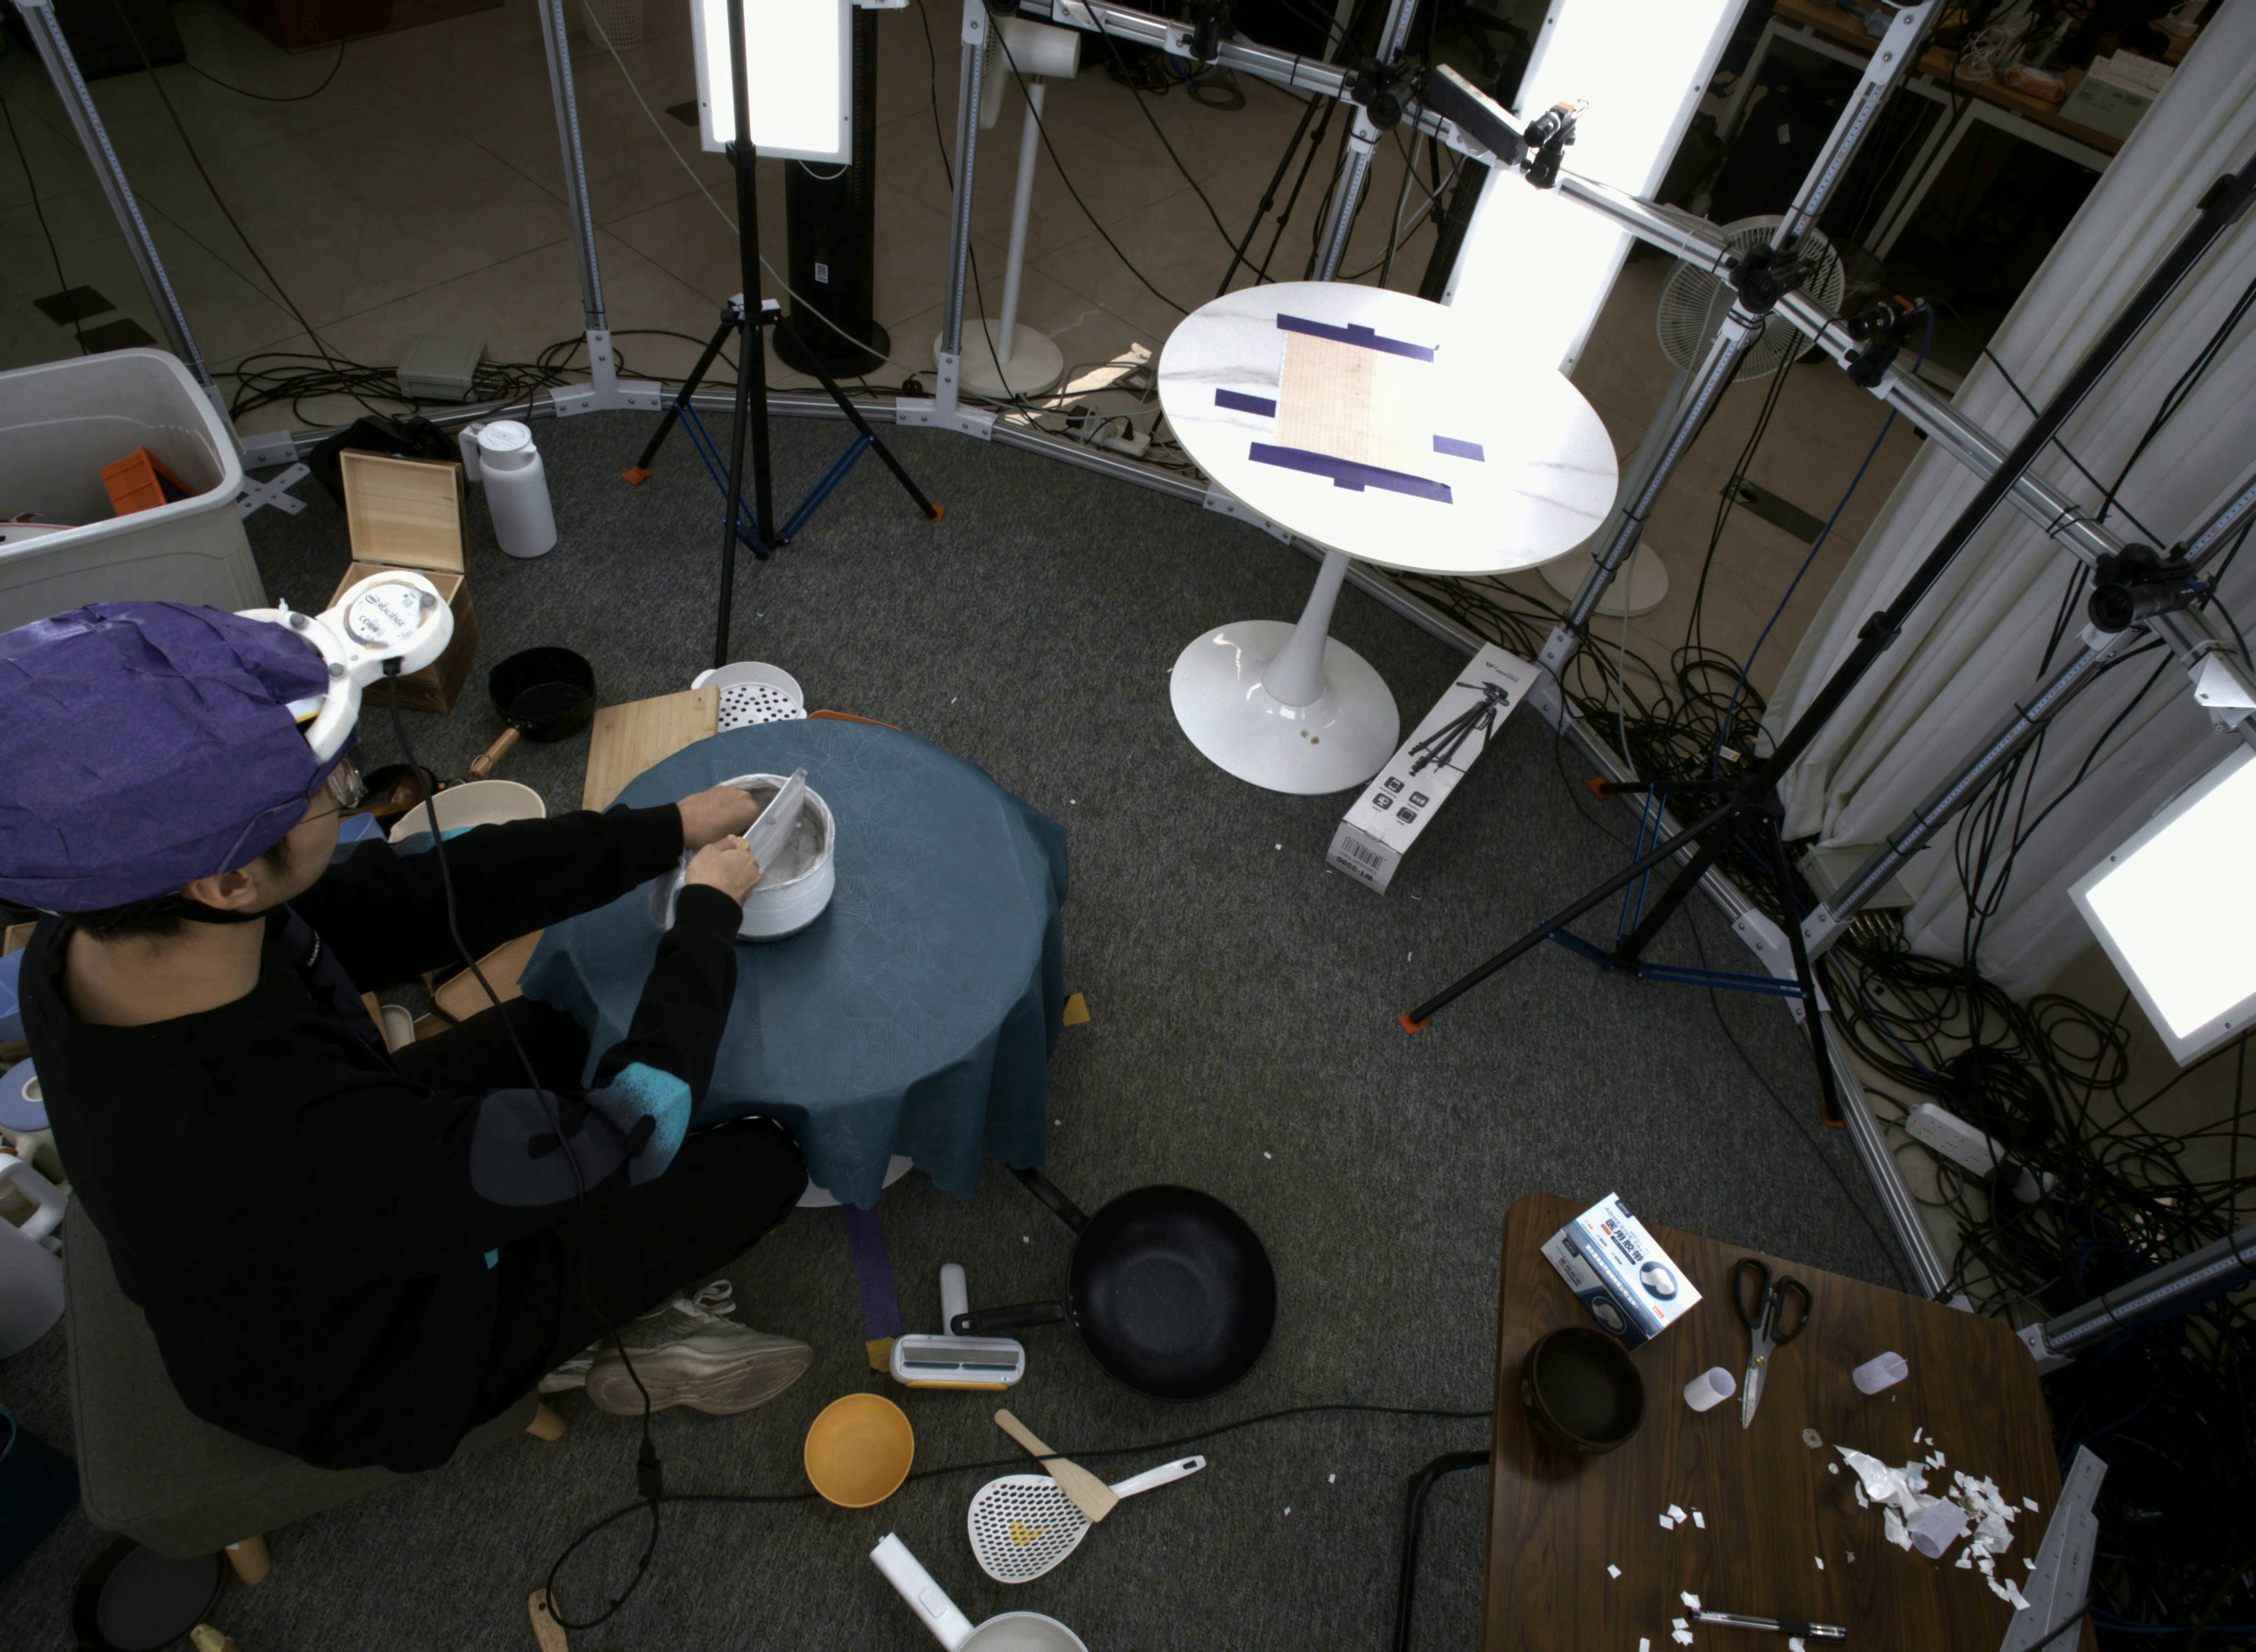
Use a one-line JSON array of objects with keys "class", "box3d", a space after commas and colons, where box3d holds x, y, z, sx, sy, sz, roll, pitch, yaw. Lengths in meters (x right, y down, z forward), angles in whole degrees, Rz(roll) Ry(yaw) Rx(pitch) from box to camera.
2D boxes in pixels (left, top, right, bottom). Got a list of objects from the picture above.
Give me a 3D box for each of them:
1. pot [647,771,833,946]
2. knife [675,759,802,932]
[{"class": "pot", "box3d": [-0.473, 0.052, 1.573, 0.235, 0.139, 0.174, -24, 61, -29]}, {"class": "knife", "box3d": [-0.428, 0.023, 1.452, 0.021, 0.117, 0.311, 14, 27, 4]}]
